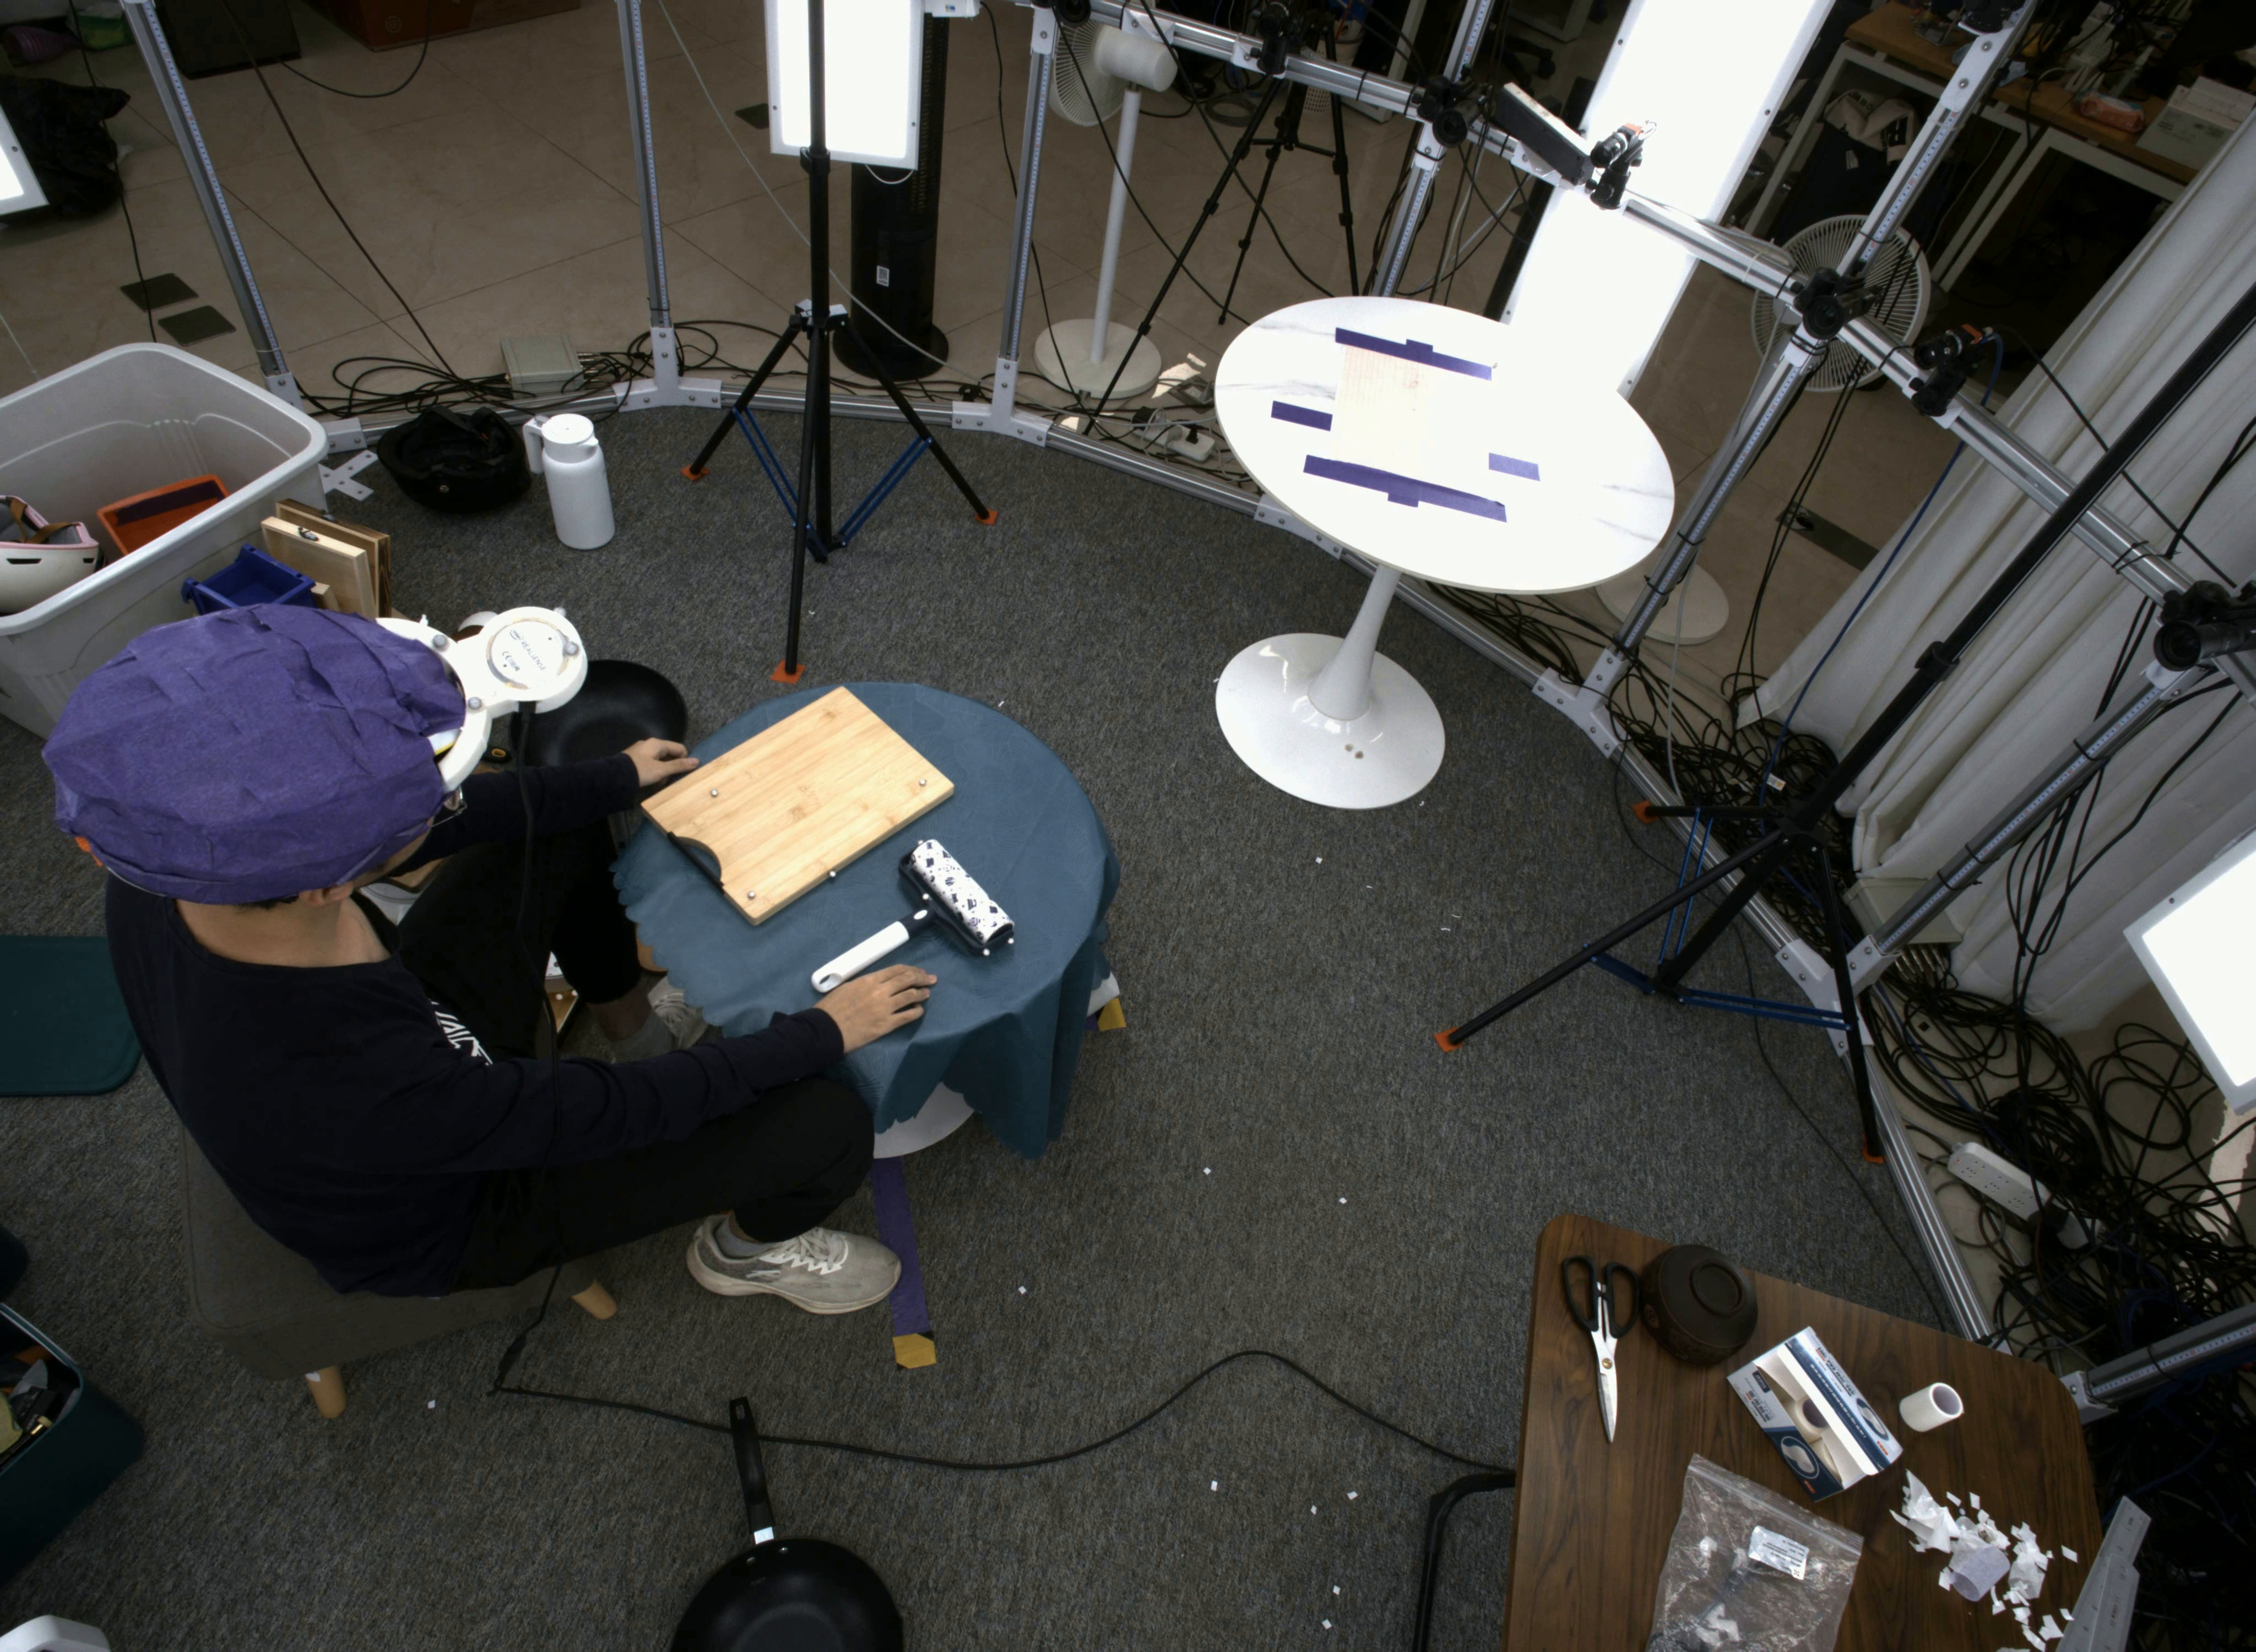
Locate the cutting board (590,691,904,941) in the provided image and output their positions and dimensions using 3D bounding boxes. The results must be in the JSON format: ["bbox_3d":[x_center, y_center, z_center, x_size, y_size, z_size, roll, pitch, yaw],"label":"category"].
[{"bbox_3d":[-0.504,-0.025,1.724,0.245,0.024,0.349,38,54,15],"label":"cutting board"}]

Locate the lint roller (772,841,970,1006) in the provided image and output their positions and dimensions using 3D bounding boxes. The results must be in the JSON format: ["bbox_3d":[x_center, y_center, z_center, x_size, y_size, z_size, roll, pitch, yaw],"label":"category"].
[{"bbox_3d":[-0.341,0.139,1.627,0.172,0.051,0.247,42,58,16],"label":"lint roller"}]
